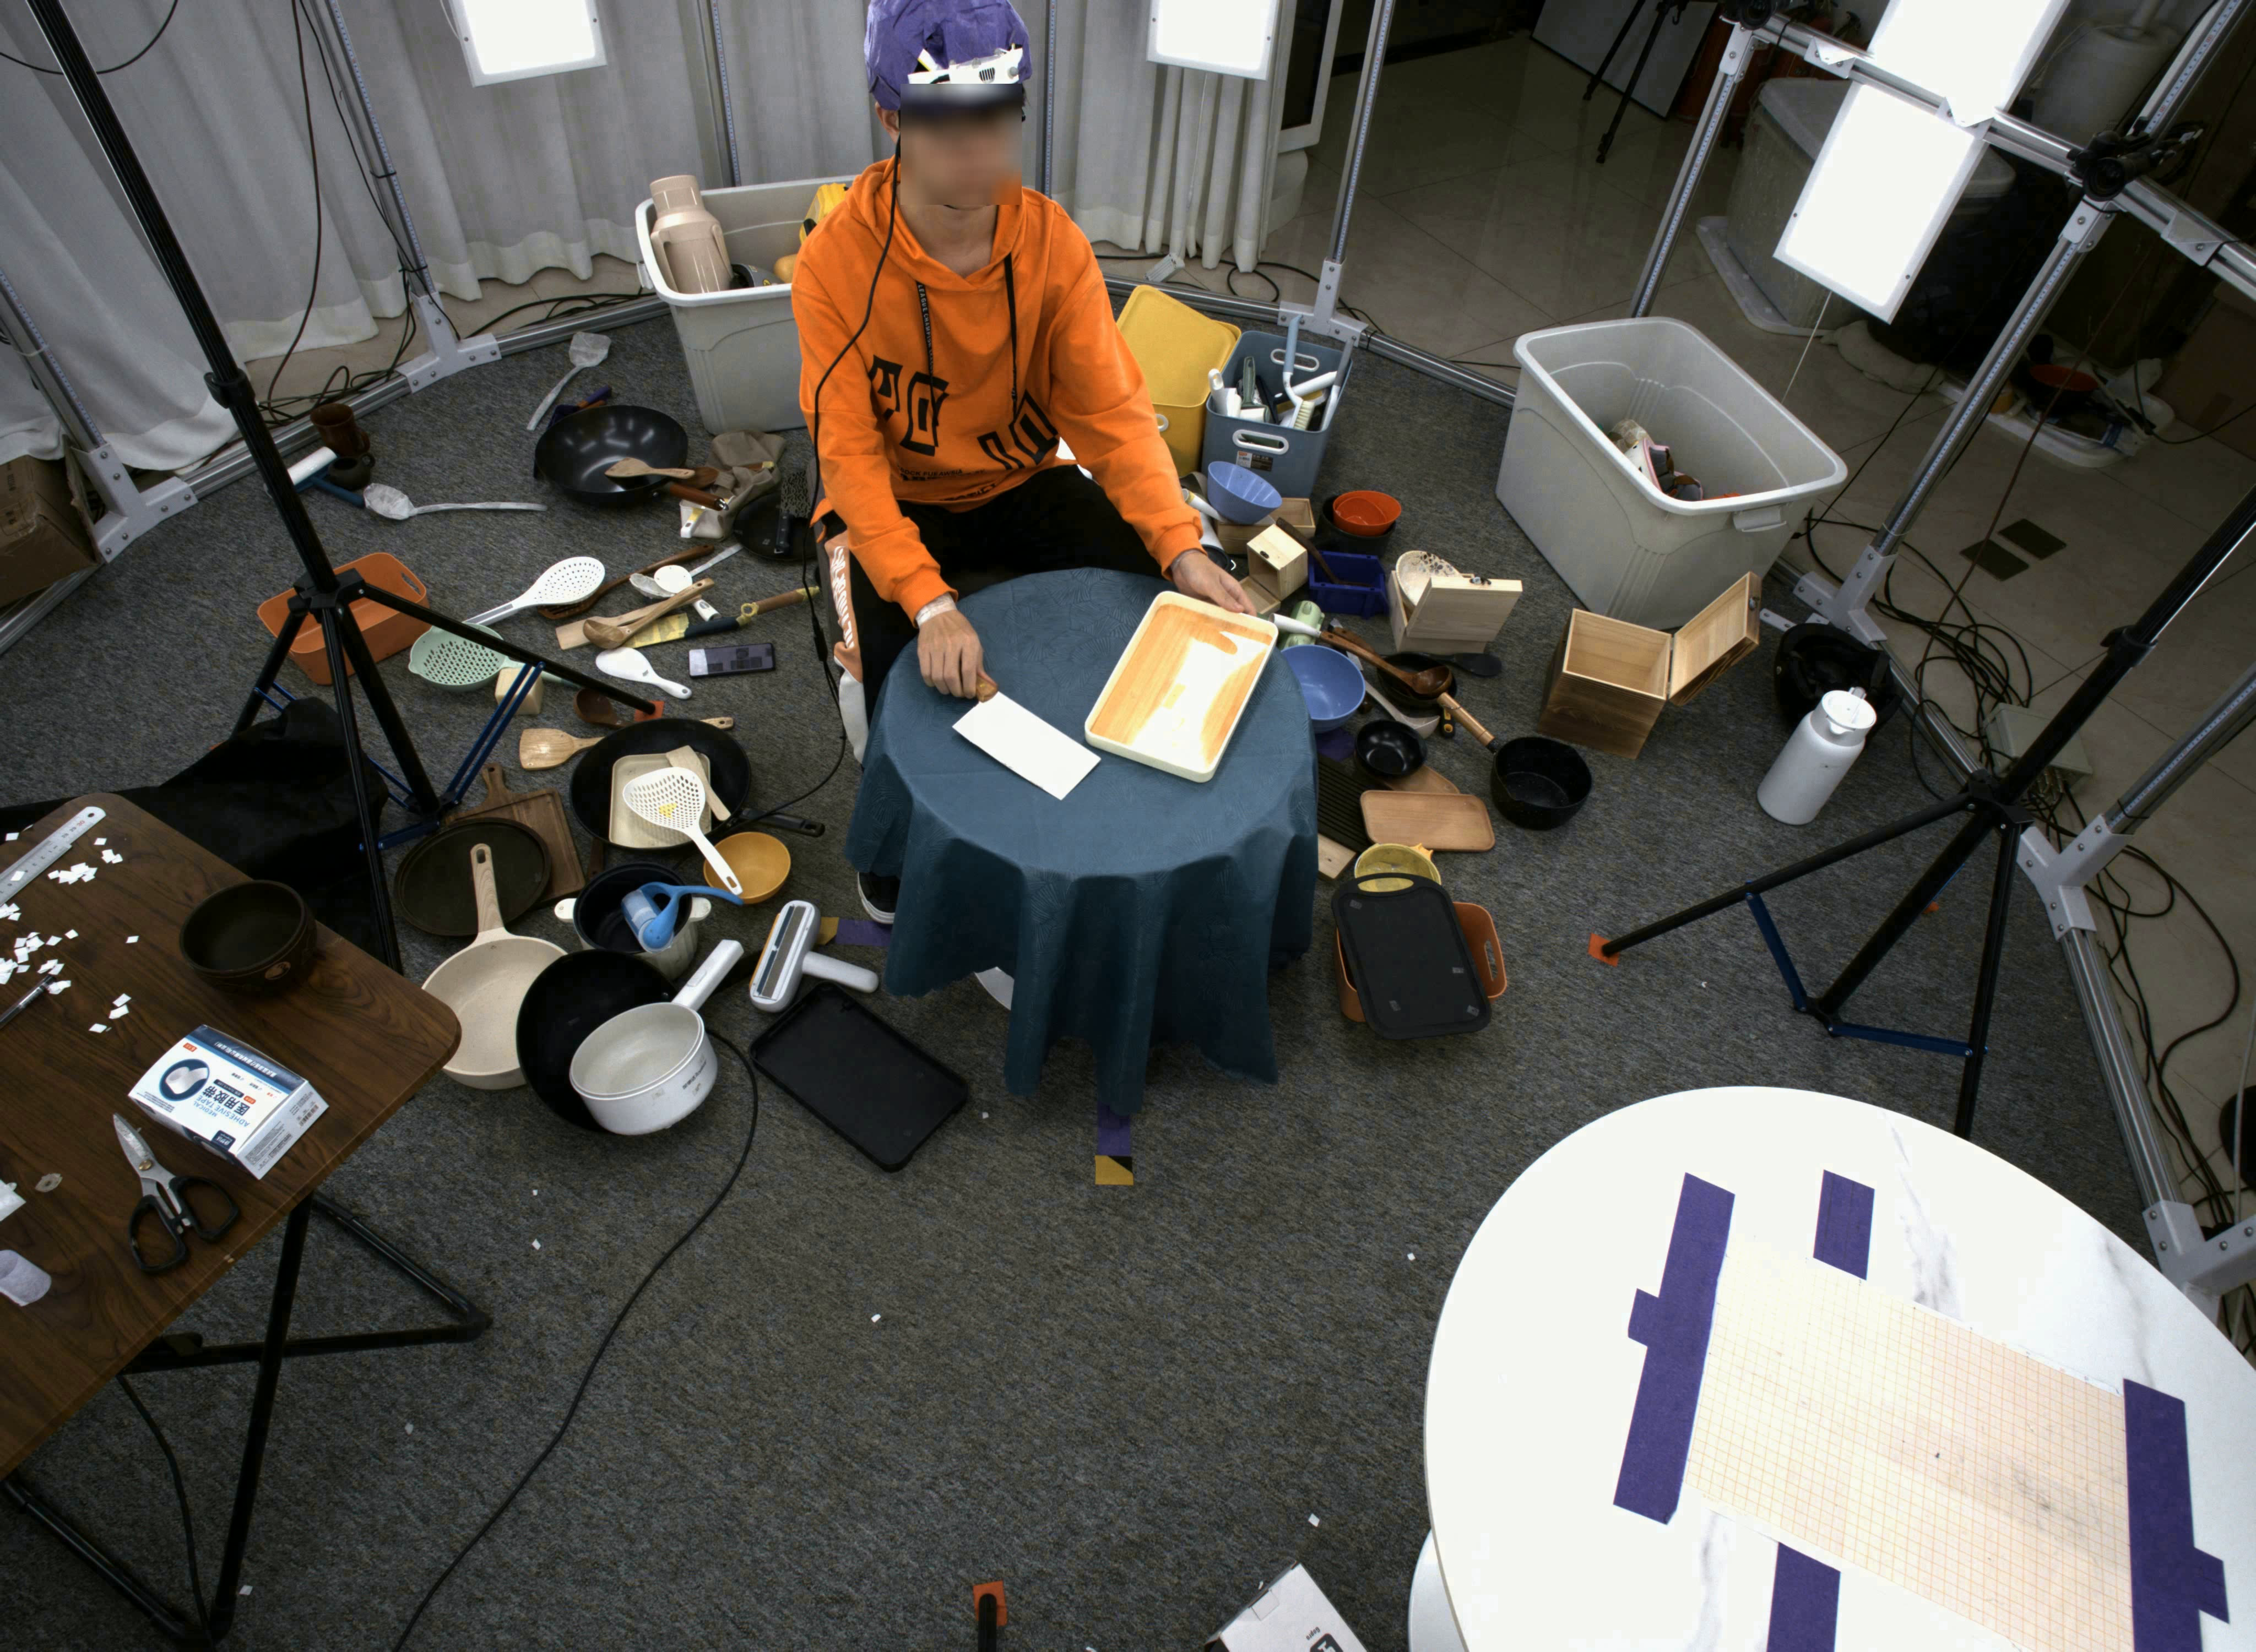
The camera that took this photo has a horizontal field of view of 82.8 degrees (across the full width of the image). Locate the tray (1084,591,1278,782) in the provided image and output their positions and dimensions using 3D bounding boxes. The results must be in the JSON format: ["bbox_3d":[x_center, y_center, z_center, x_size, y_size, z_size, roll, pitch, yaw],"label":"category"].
[{"bbox_3d":[0.078,-0.204,1.816,0.192,0.027,0.306,19,56,13],"label":"tray"}]

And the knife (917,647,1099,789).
[{"bbox_3d":[-0.183,-0.146,1.762,0.309,0.020,0.094,34,60,18],"label":"knife"}]
